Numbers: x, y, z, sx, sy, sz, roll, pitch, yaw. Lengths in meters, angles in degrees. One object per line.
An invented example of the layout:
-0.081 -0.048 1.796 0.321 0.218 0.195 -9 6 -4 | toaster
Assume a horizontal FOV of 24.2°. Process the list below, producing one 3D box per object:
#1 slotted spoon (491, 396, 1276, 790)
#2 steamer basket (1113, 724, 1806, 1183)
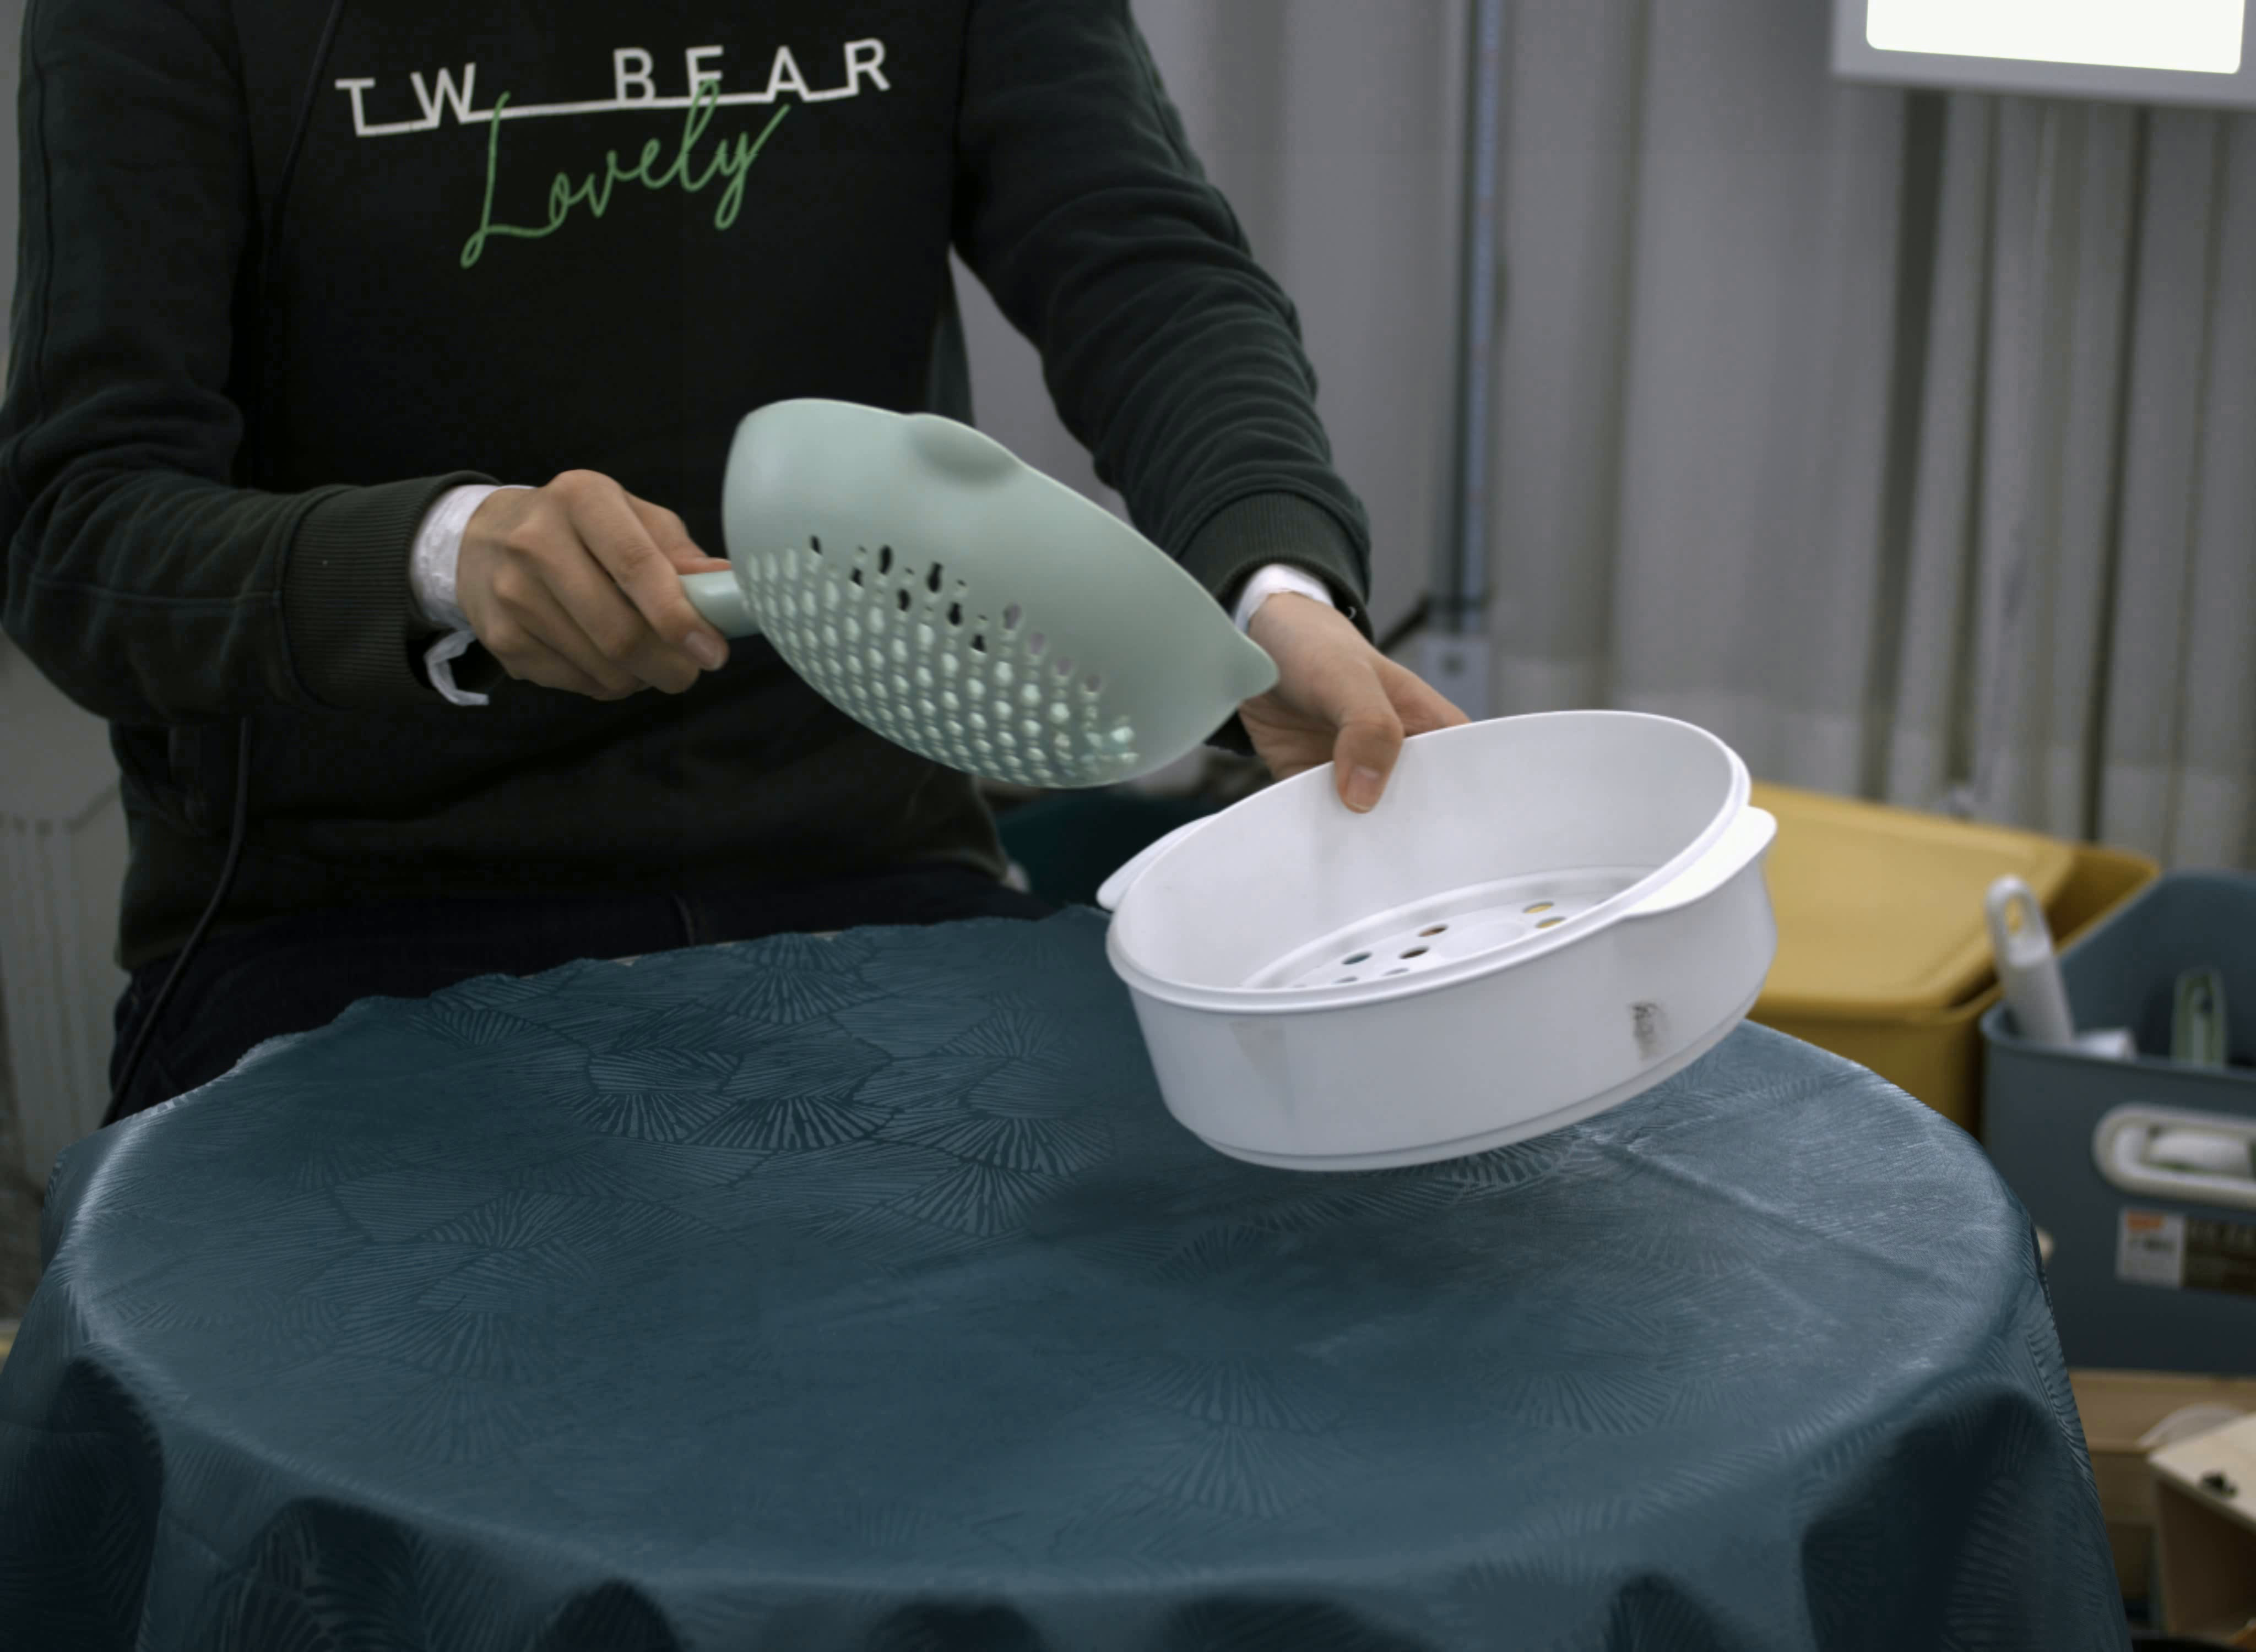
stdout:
-0.102 -0.065 1.621 0.171 0.075 0.355 38 -14 -29 | slotted spoon
0.103 0.038 1.593 0.228 0.070 0.202 -1 24 38 | steamer basket
